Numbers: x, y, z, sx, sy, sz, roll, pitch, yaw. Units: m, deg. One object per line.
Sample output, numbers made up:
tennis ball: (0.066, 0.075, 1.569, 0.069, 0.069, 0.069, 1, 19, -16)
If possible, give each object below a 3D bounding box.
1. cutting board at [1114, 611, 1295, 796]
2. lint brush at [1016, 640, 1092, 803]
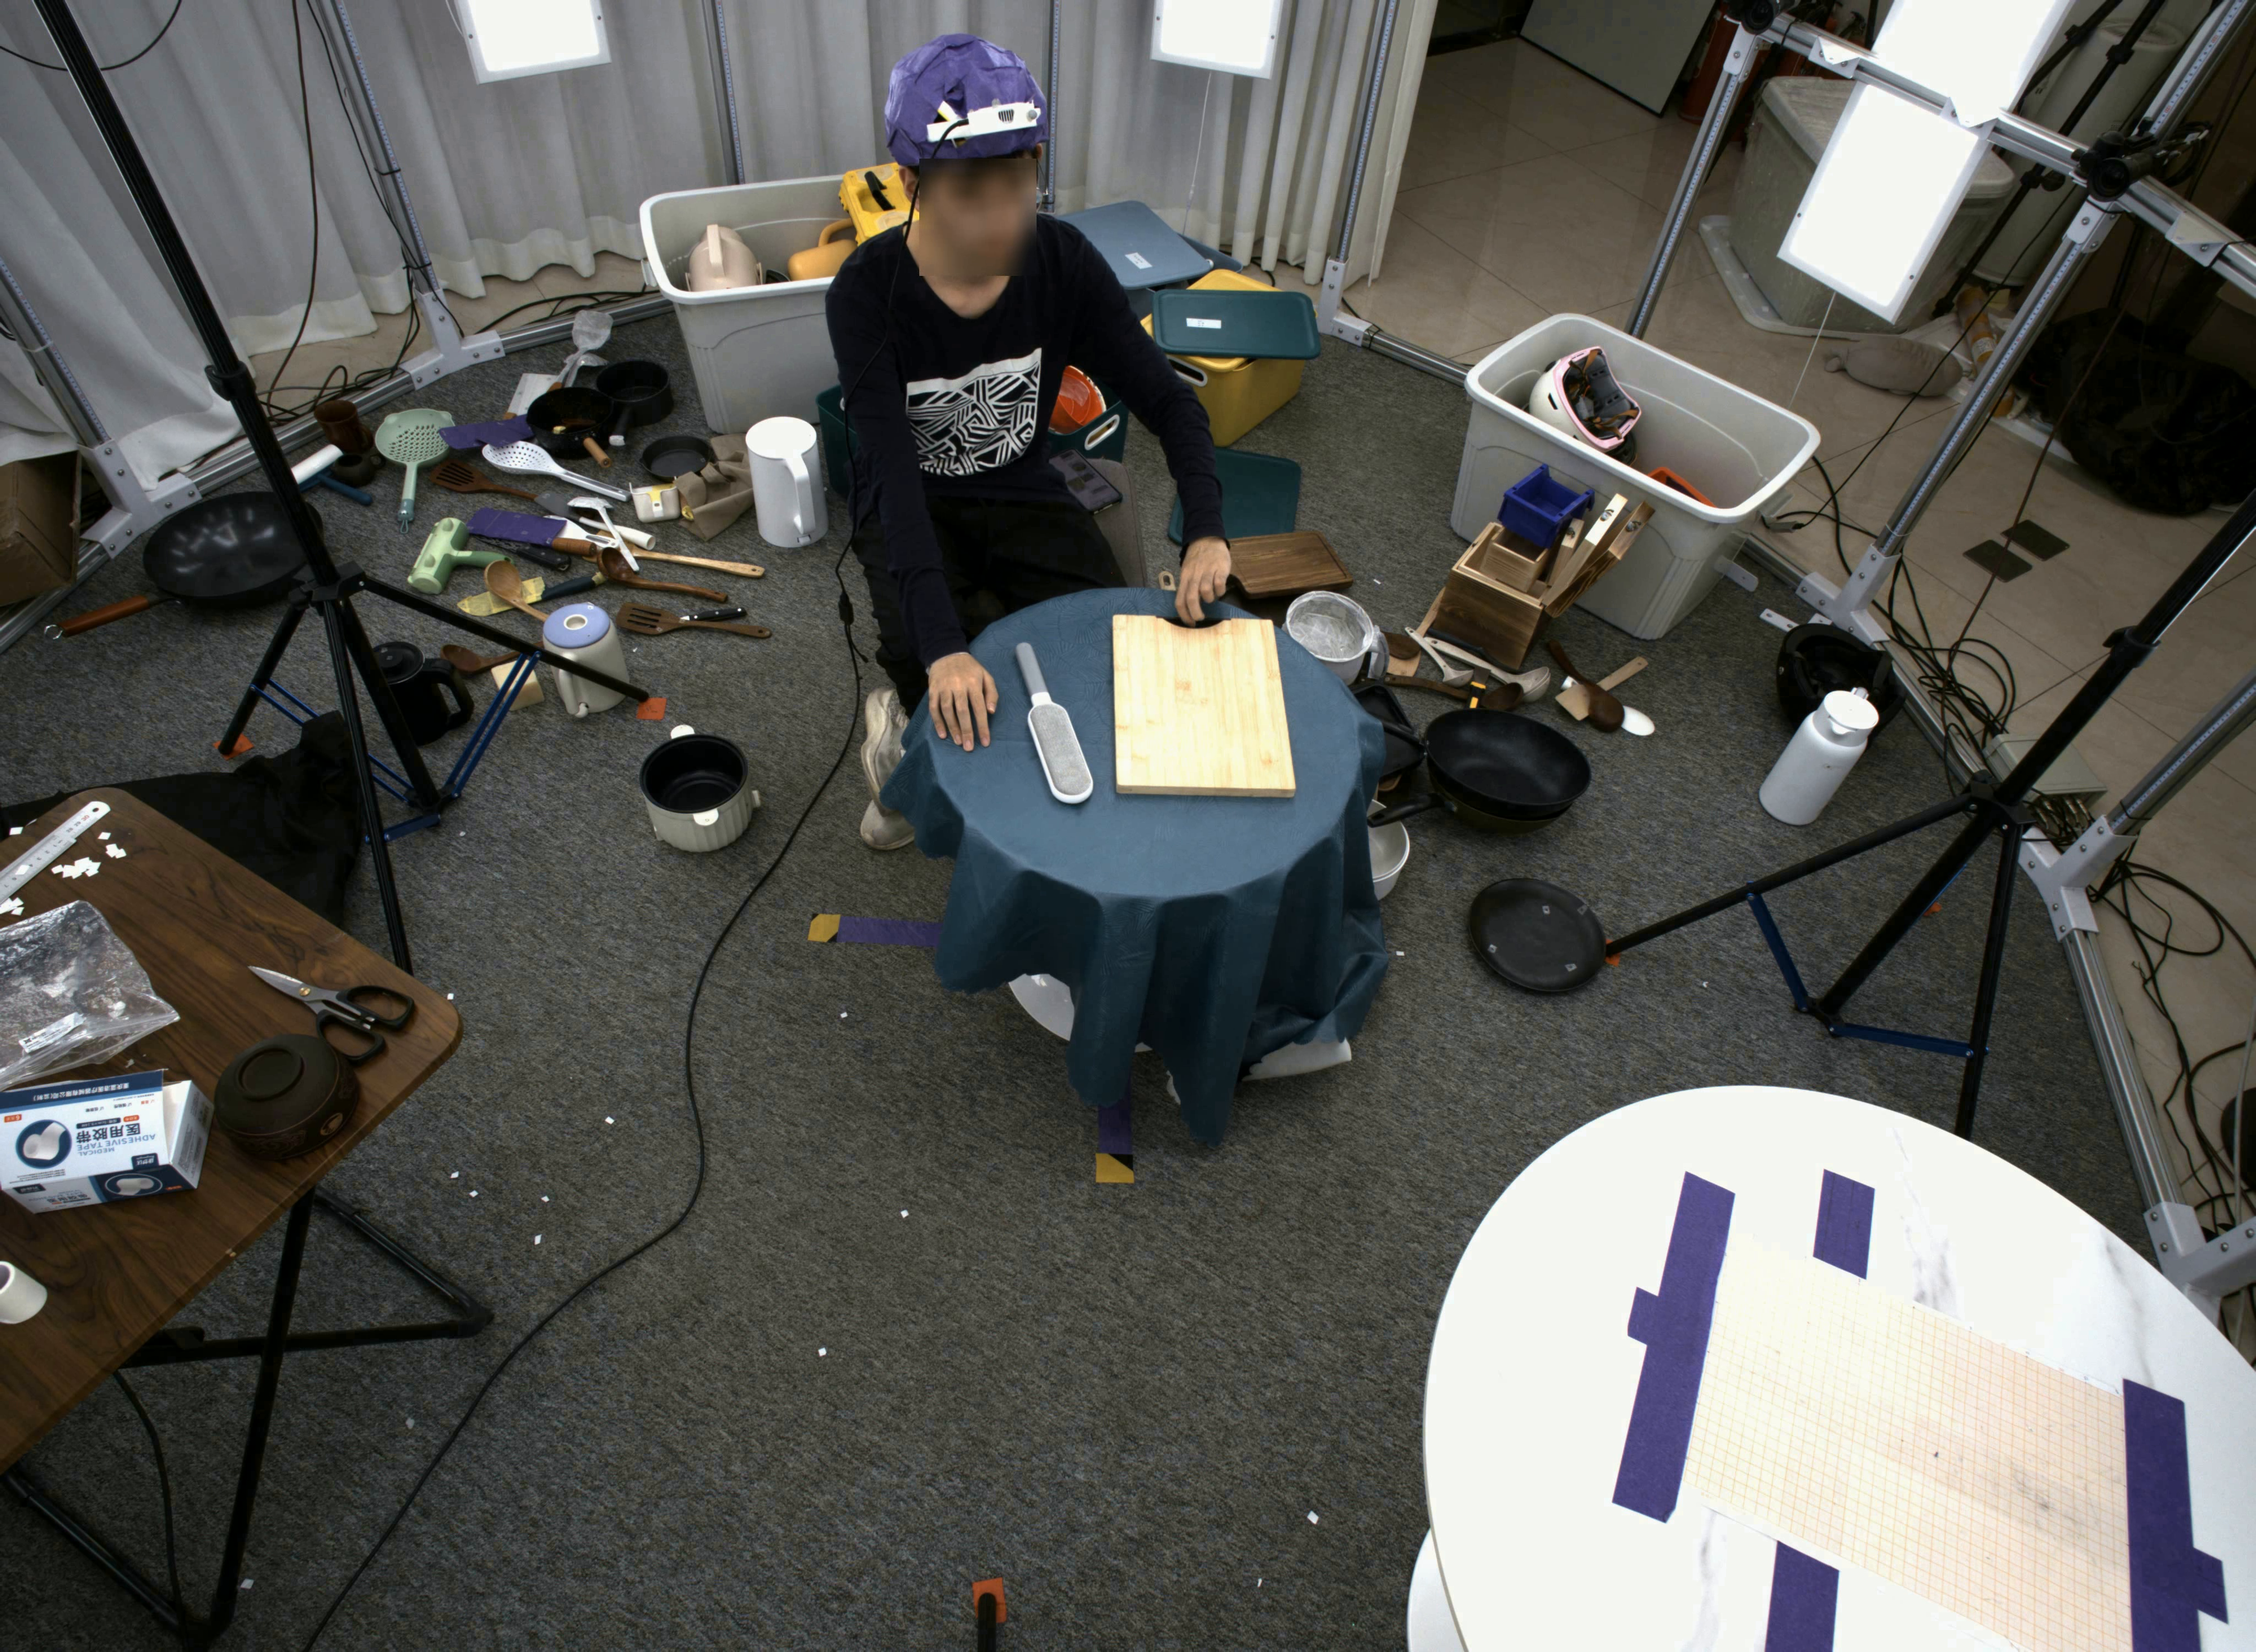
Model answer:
cutting board: (0.101, -0.180, 1.821, 0.250, 0.023, 0.357, 1, 49, -4)
lint brush: (-0.109, -0.150, 1.773, 0.060, 0.020, 0.316, -13, 51, -8)
